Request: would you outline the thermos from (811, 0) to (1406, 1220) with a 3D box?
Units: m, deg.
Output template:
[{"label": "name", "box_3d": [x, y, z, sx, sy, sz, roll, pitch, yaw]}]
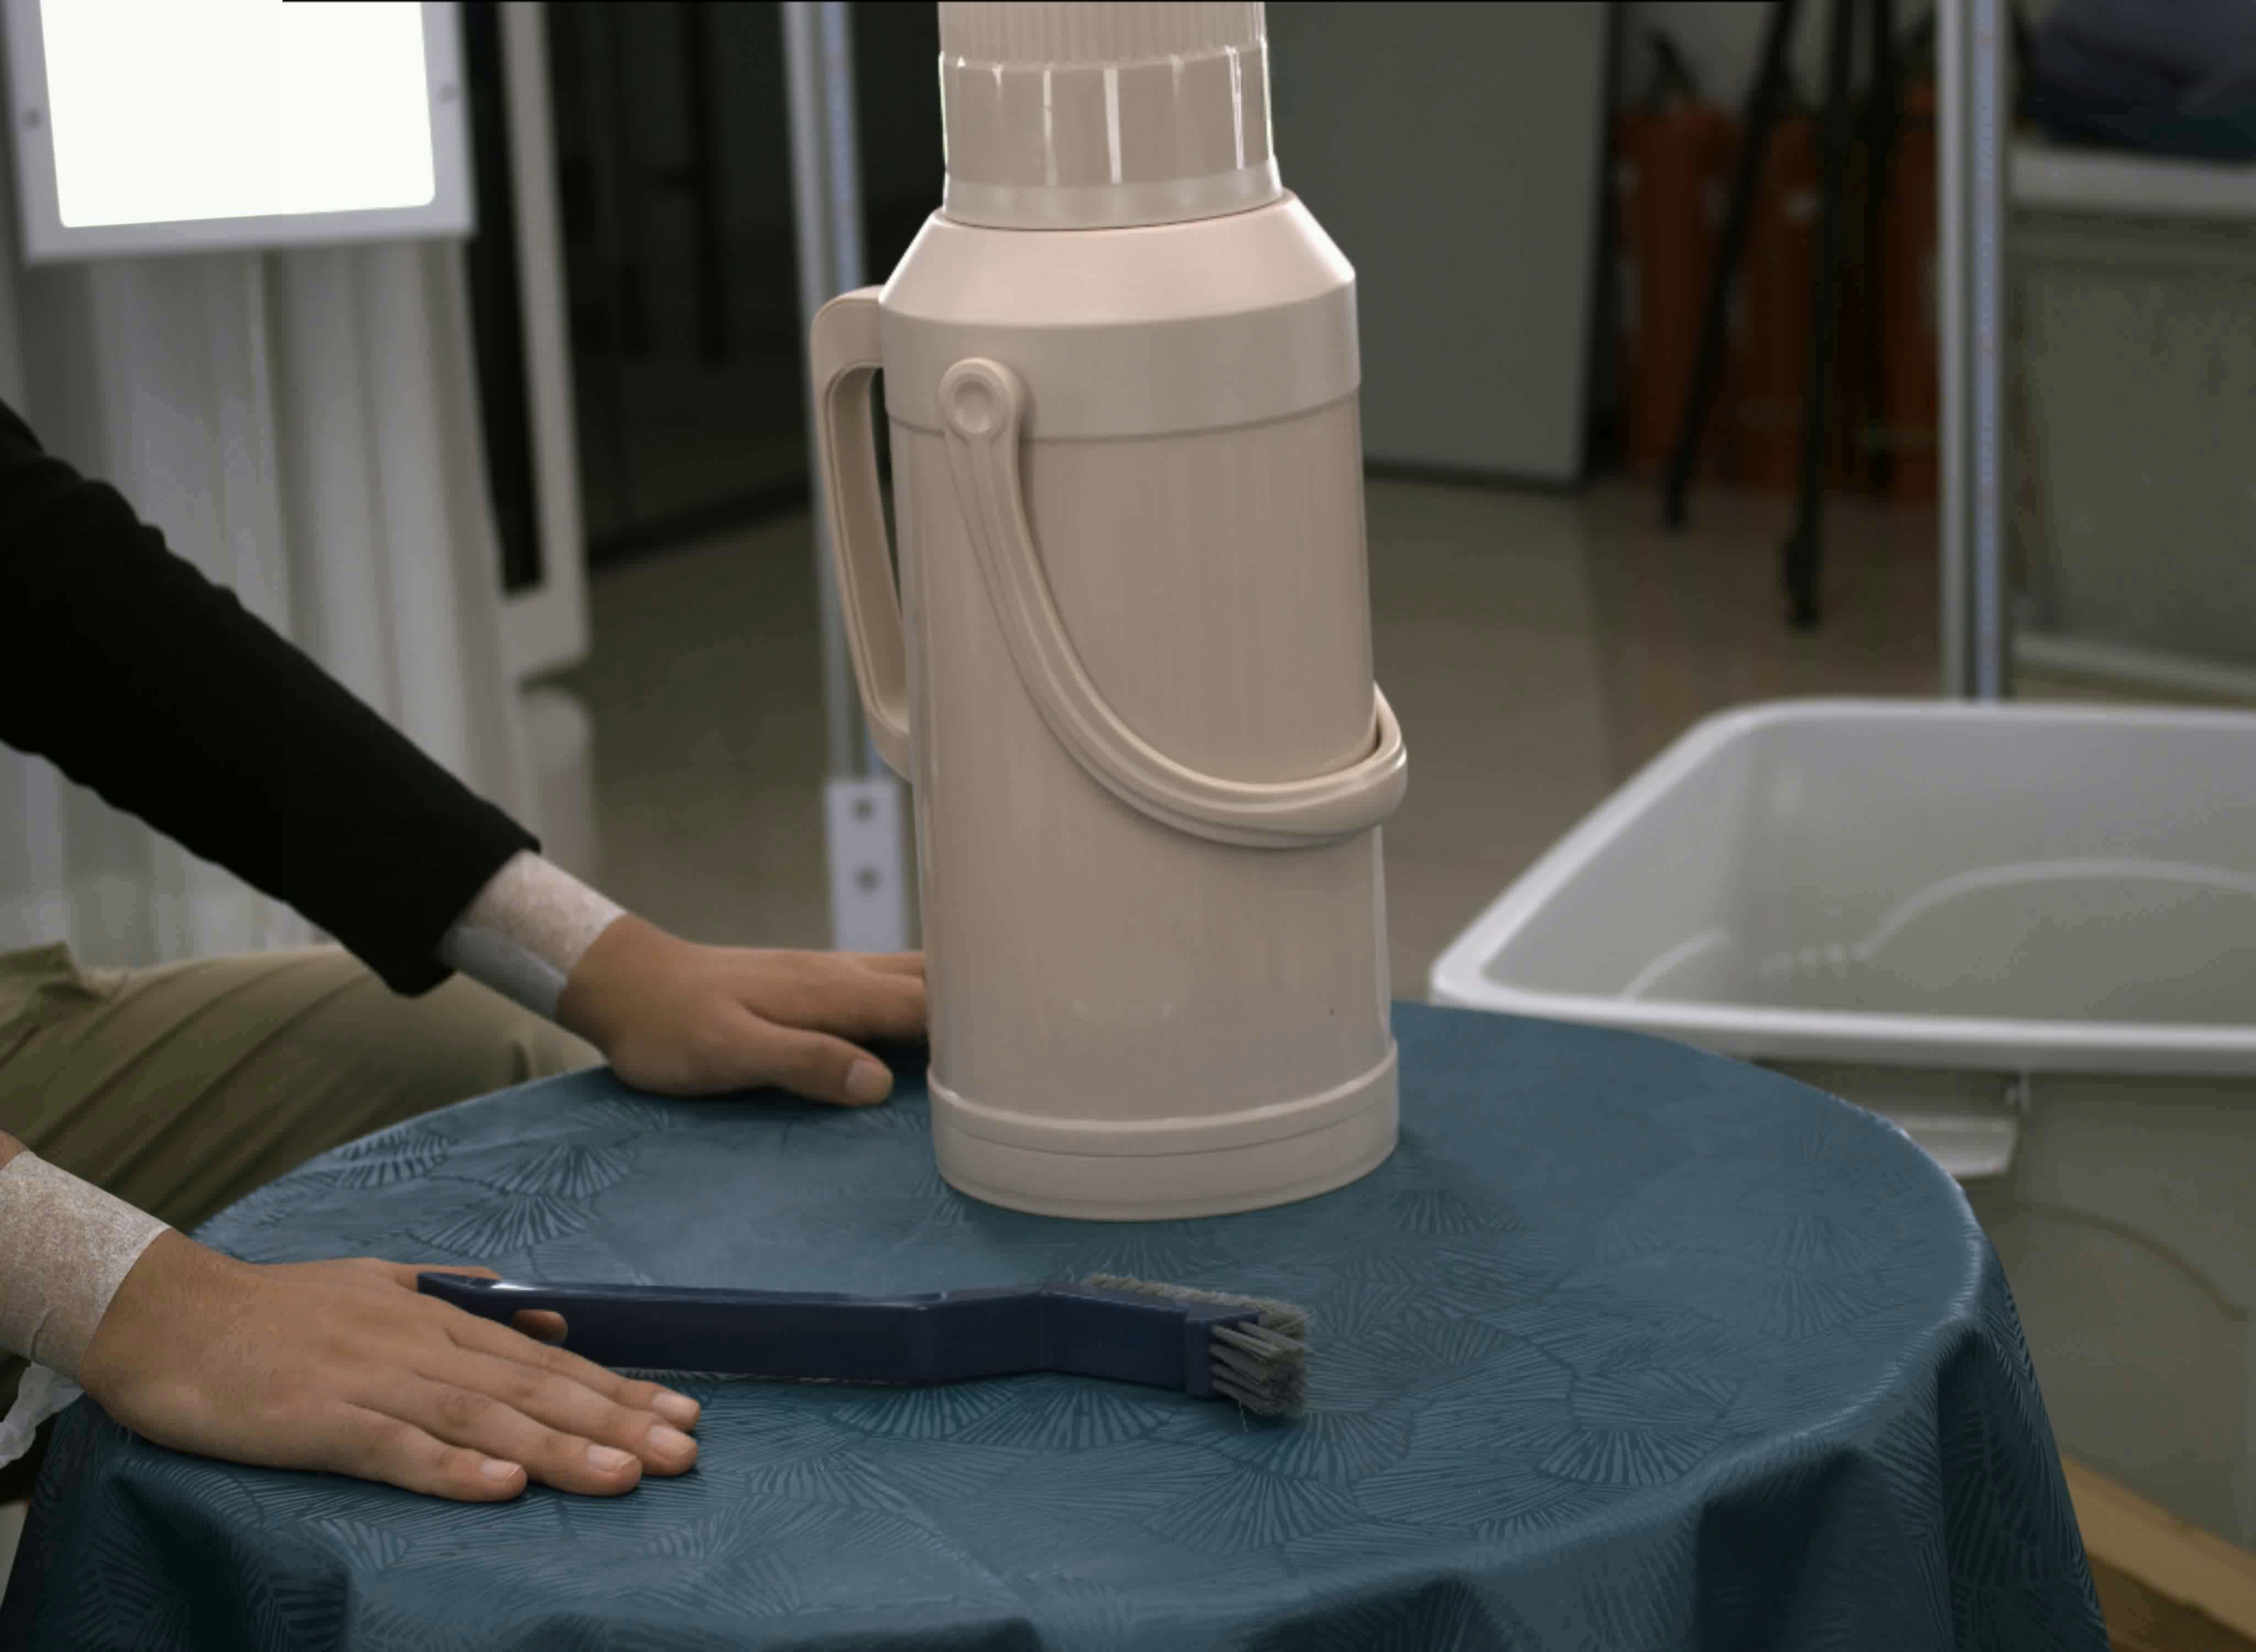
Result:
[{"label": "thermos", "box_3d": [-0.009, -0.086, 1.778, 0.208, 0.410, 0.172, 5, 17, 32]}]

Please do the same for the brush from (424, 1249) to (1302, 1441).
[{"label": "brush", "box_3d": [-0.083, 0.152, 1.599, 0.271, 0.034, 0.095, 0, 12, 9]}]
